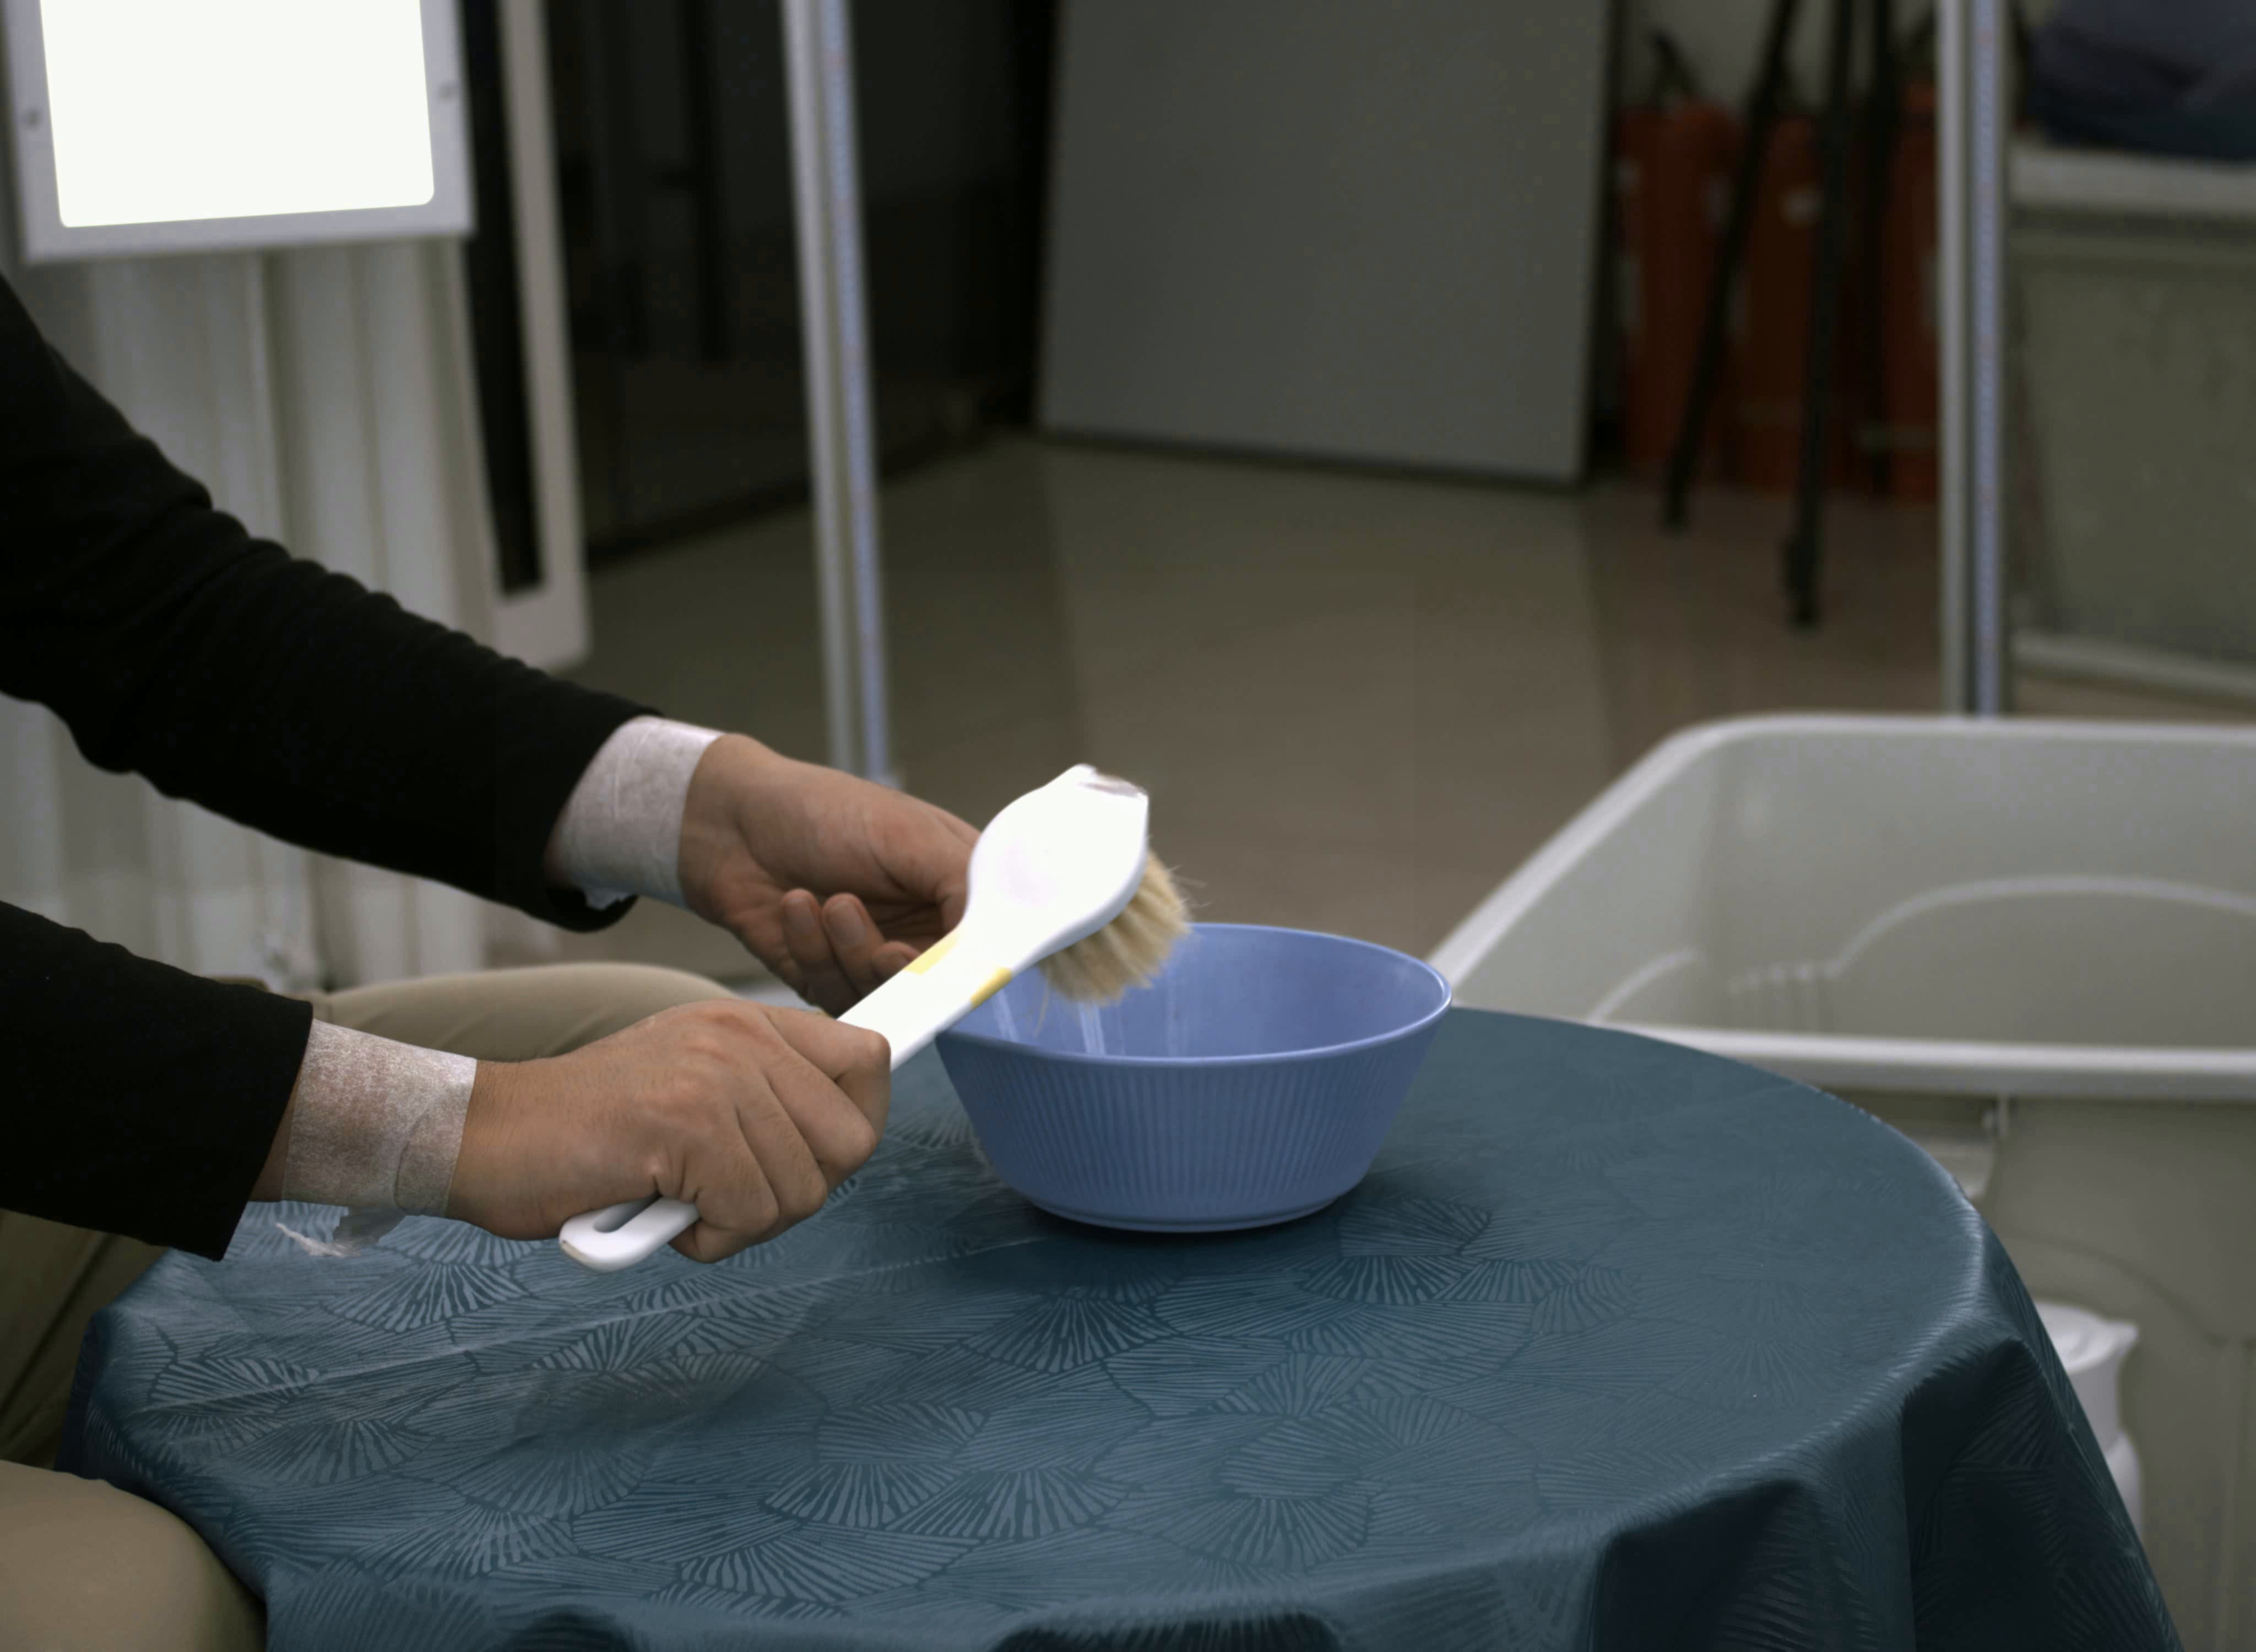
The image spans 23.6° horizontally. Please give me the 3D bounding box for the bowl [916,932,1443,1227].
[{"bbox_3d":[0.016,0.083,1.753,0.174,0.071,0.176,-1,11,-1],"label":"bowl"}]

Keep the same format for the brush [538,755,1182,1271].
[{"bbox_3d":[-0.080,0.071,1.642,0.069,0.056,0.263,16,45,38],"label":"brush"}]
